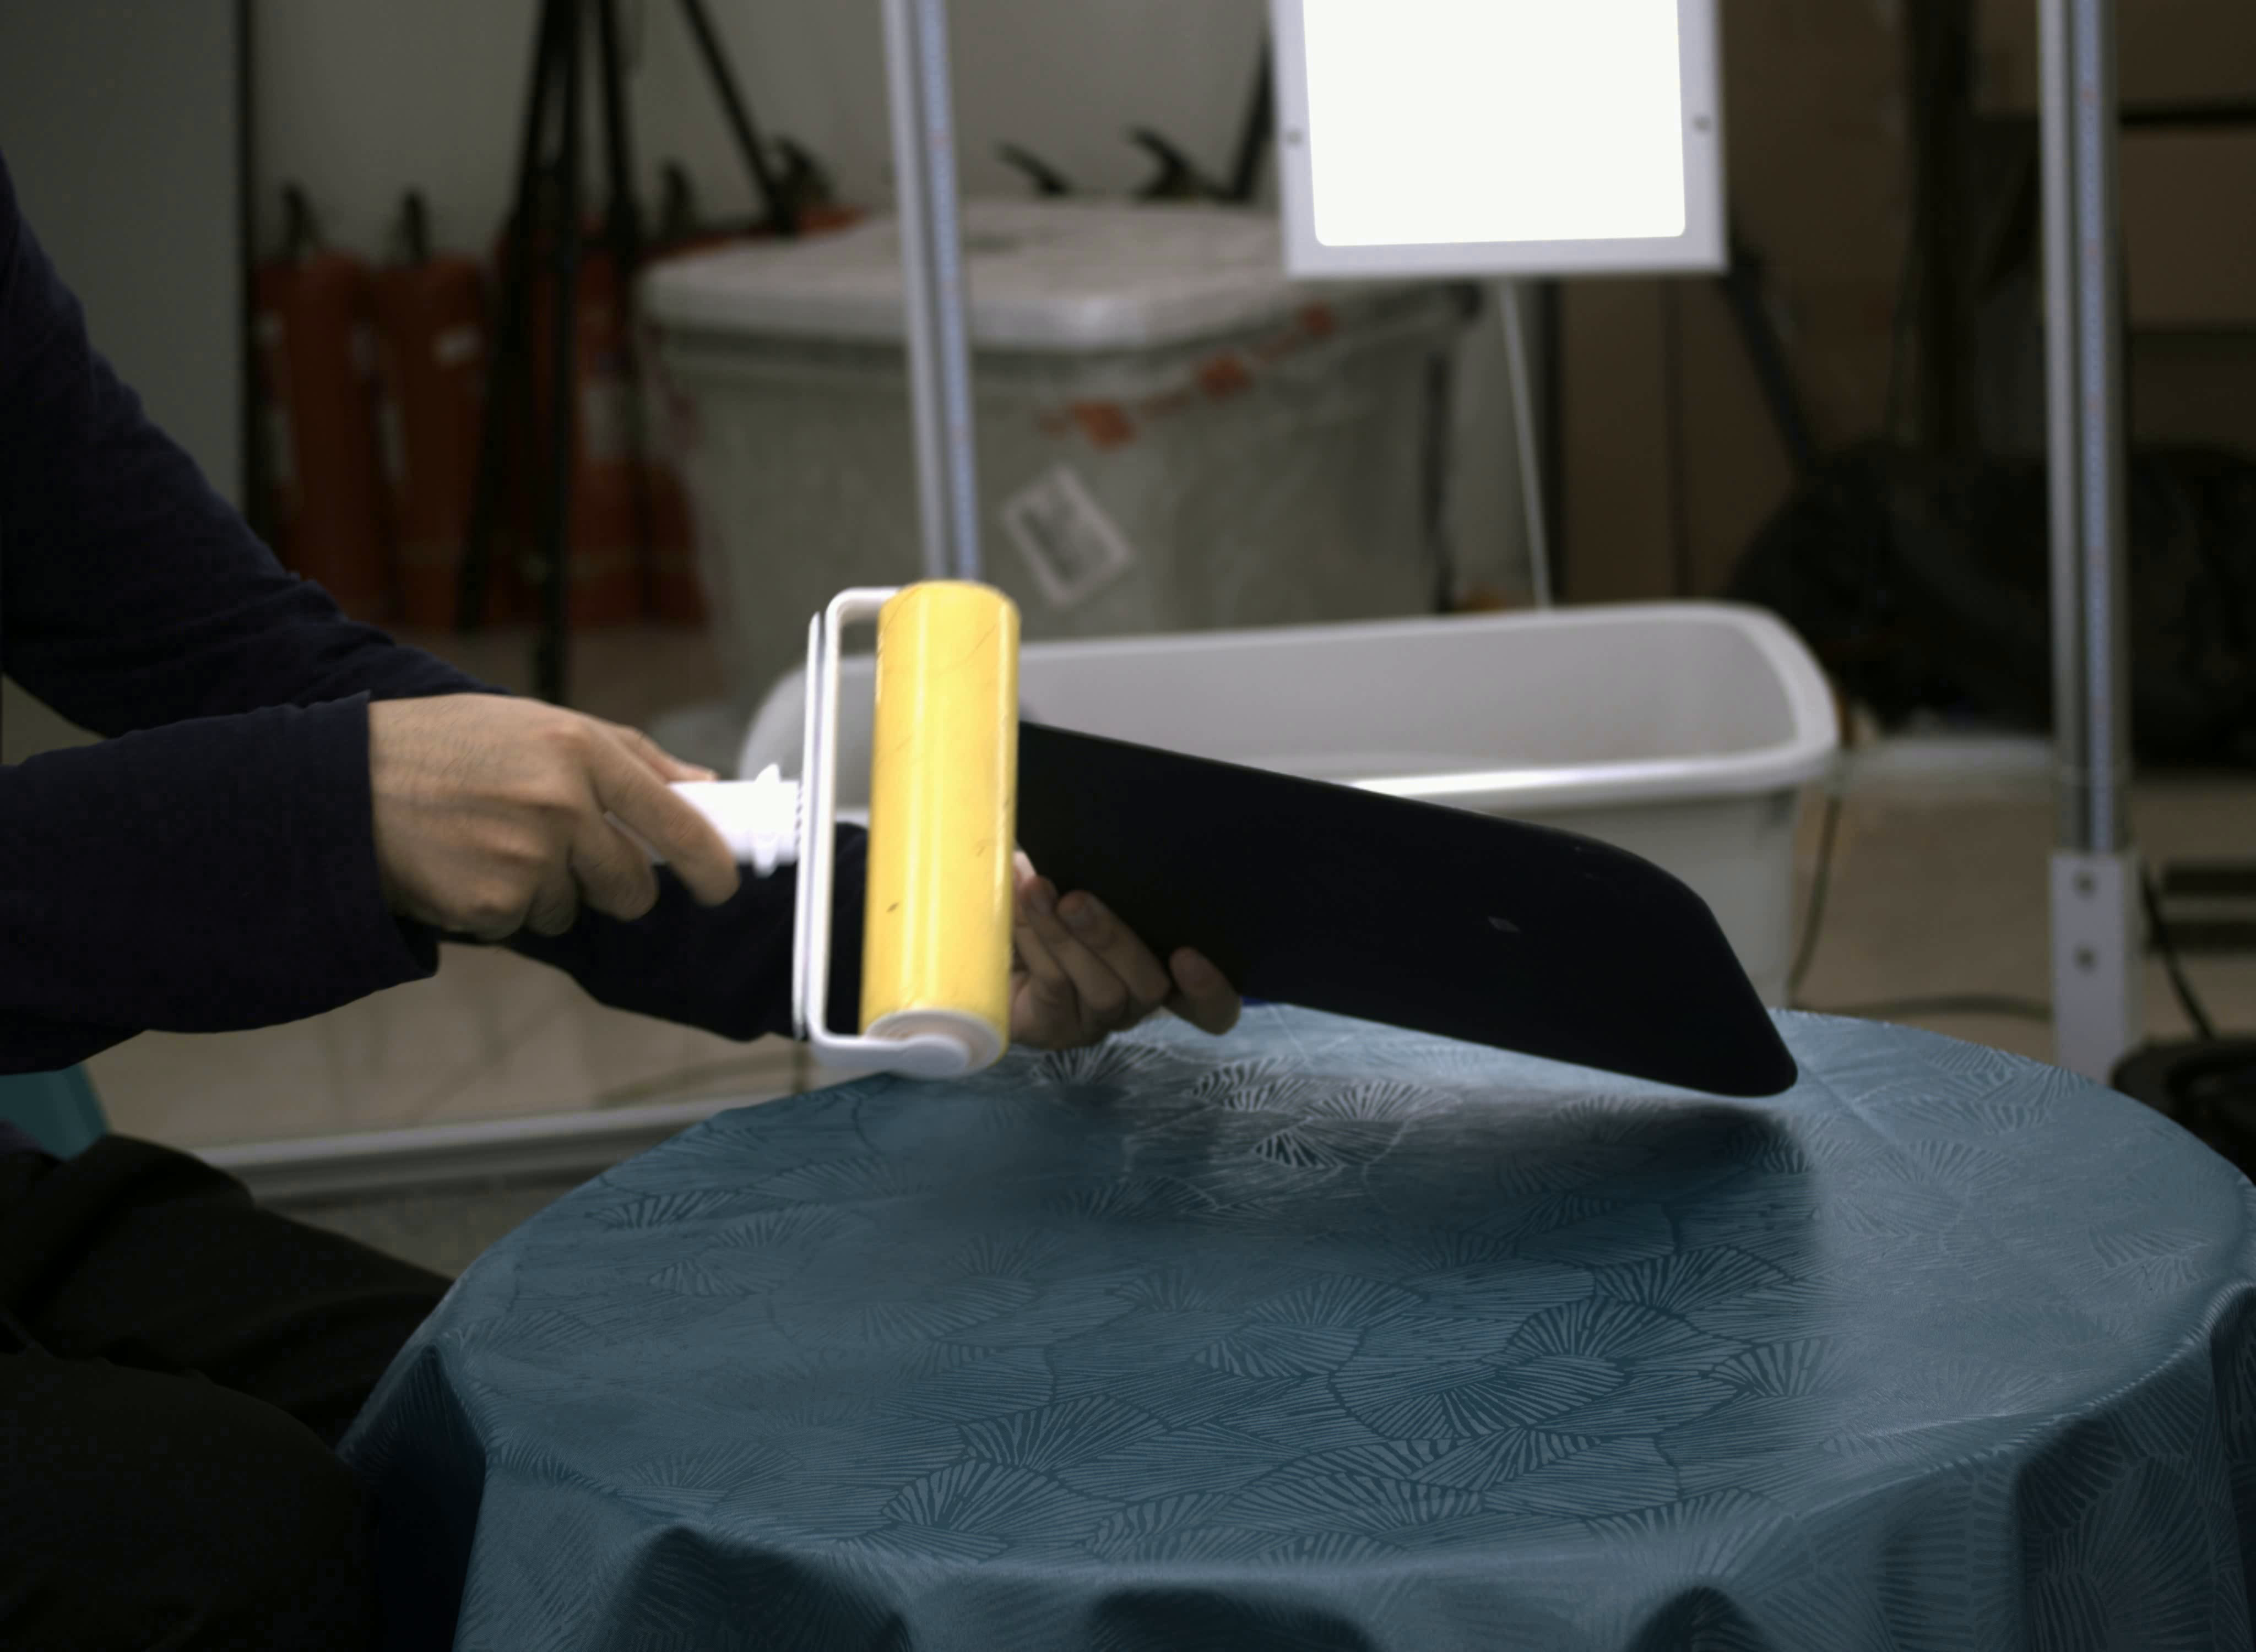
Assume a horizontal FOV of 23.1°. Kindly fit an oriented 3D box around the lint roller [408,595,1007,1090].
[{"bbox_3d":[-0.134,0.000,1.770,0.190,0.052,0.174,4,57,-7],"label":"lint roller"}]

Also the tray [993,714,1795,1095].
[{"bbox_3d":[0.067,0.024,1.918,0.331,0.010,0.209,11,-22,28],"label":"tray"}]
